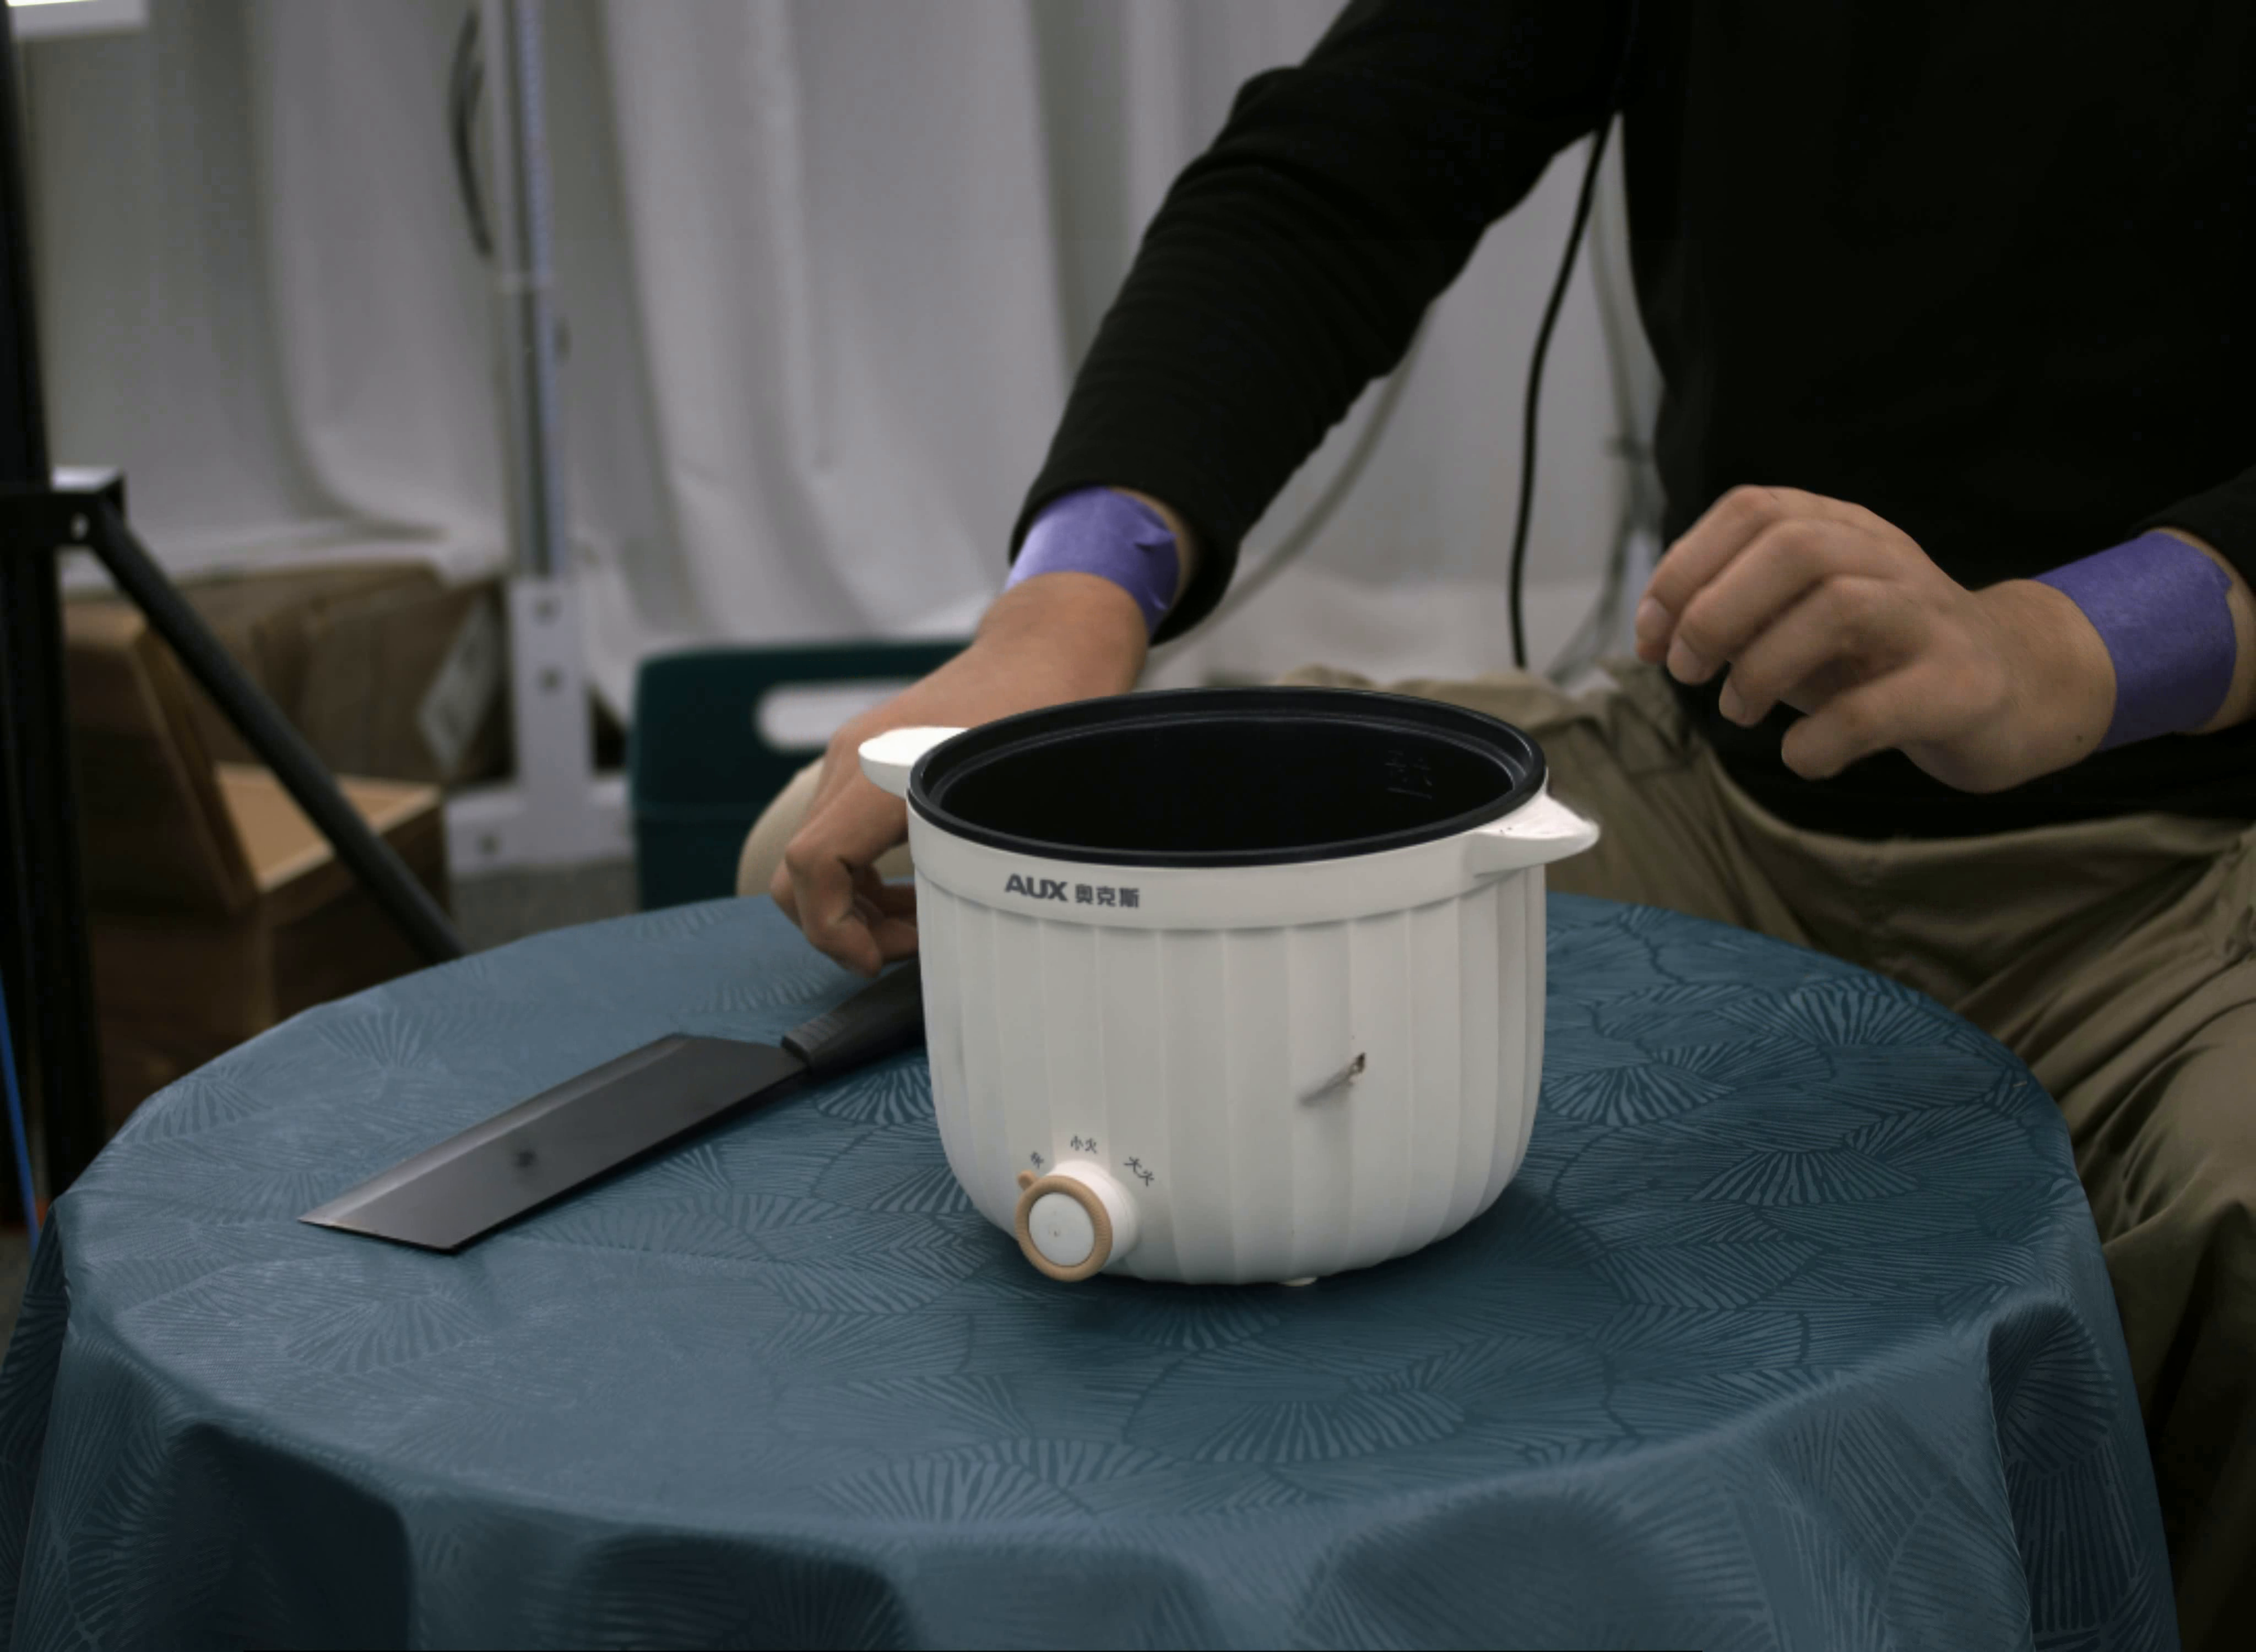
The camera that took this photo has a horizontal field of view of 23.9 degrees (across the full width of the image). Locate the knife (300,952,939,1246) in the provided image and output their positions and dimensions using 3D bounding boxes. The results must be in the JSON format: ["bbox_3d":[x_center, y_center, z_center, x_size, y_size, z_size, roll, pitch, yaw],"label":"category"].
[{"bbox_3d":[-0.132,0.078,1.658,0.083,0.021,0.296,10,22,40],"label":"knife"}]

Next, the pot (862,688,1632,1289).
[{"bbox_3d":[0.030,0.049,1.507,0.245,0.143,0.187,6,14,30],"label":"pot"}]
